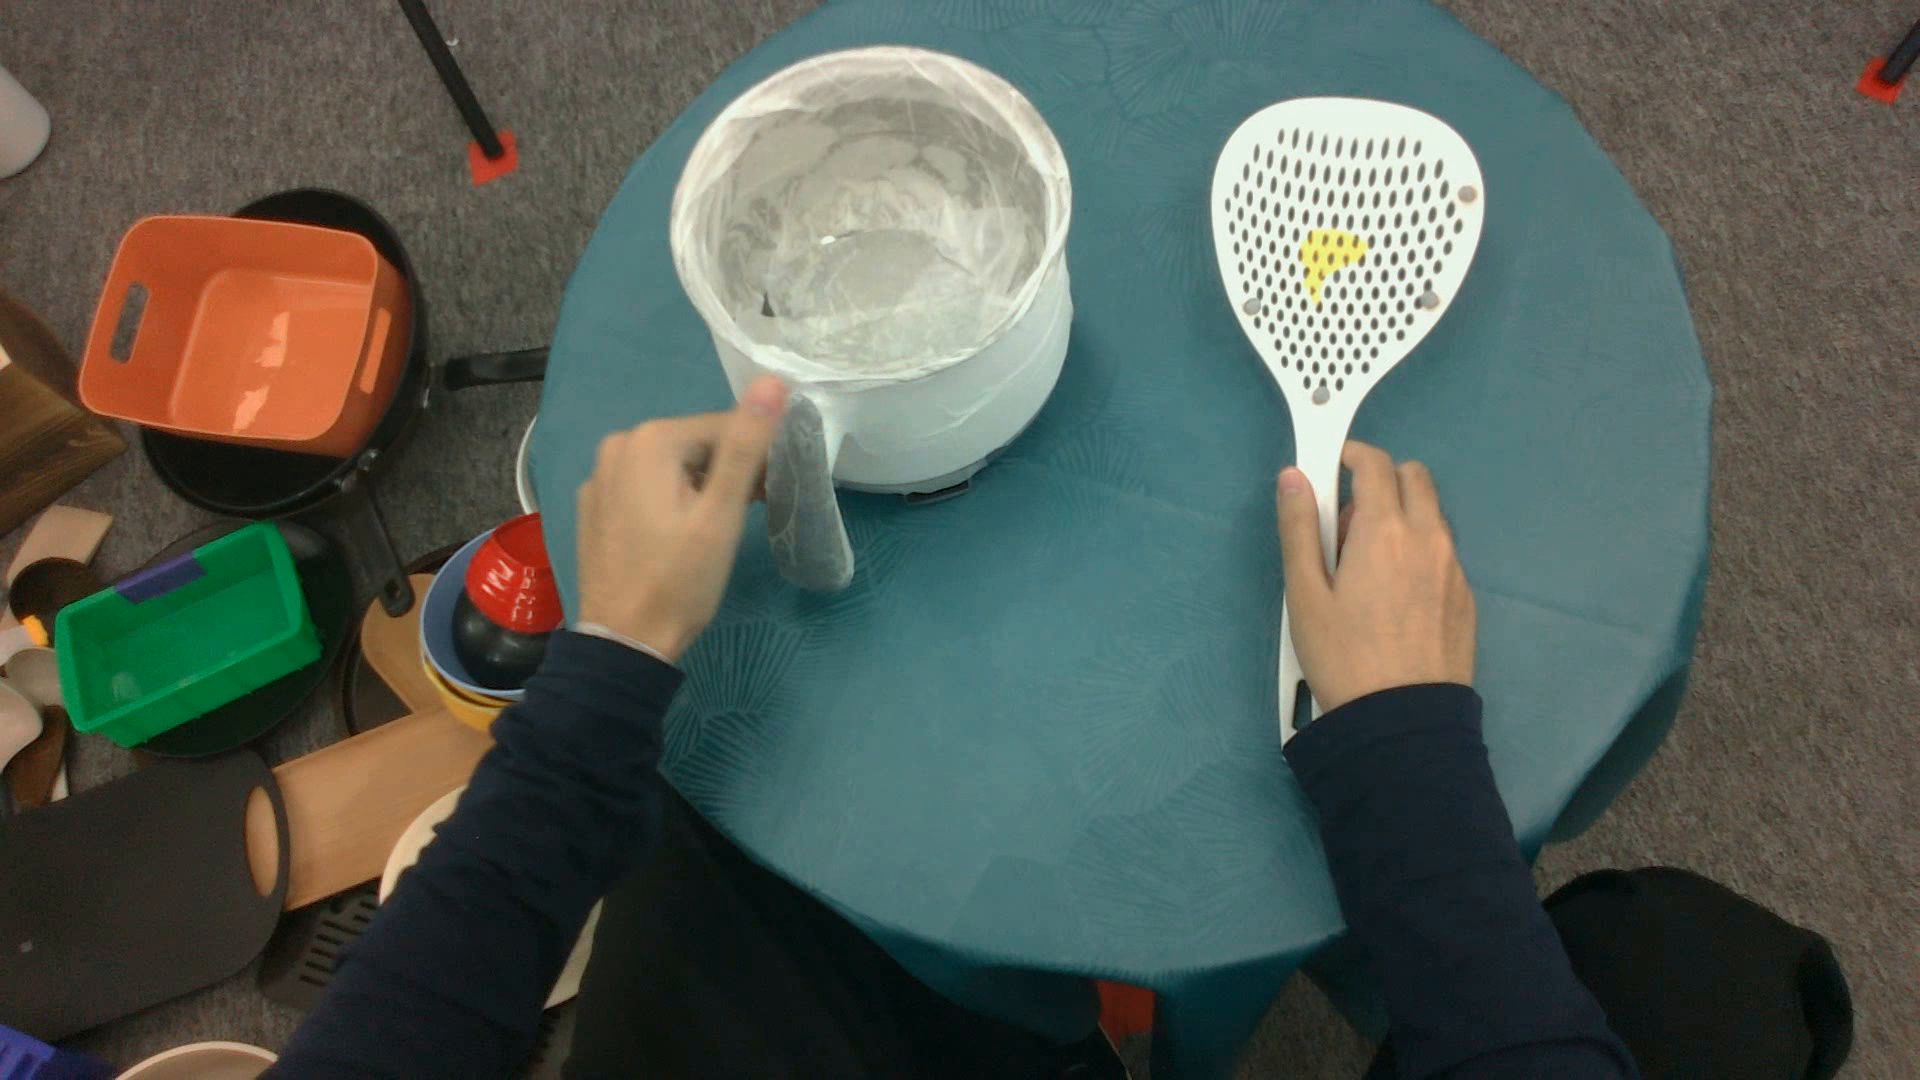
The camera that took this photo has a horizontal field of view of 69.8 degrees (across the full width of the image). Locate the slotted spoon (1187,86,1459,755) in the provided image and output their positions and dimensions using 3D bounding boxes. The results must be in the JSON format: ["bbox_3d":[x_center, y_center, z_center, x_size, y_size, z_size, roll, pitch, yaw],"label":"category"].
[{"bbox_3d":[0.171,-0.070,0.678,0.137,0.050,0.349,6,67,6],"label":"slotted spoon"}]

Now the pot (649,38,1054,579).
[{"bbox_3d":[-0.051,-0.103,0.655,0.178,0.136,0.234,10,69,10],"label":"pot"}]
